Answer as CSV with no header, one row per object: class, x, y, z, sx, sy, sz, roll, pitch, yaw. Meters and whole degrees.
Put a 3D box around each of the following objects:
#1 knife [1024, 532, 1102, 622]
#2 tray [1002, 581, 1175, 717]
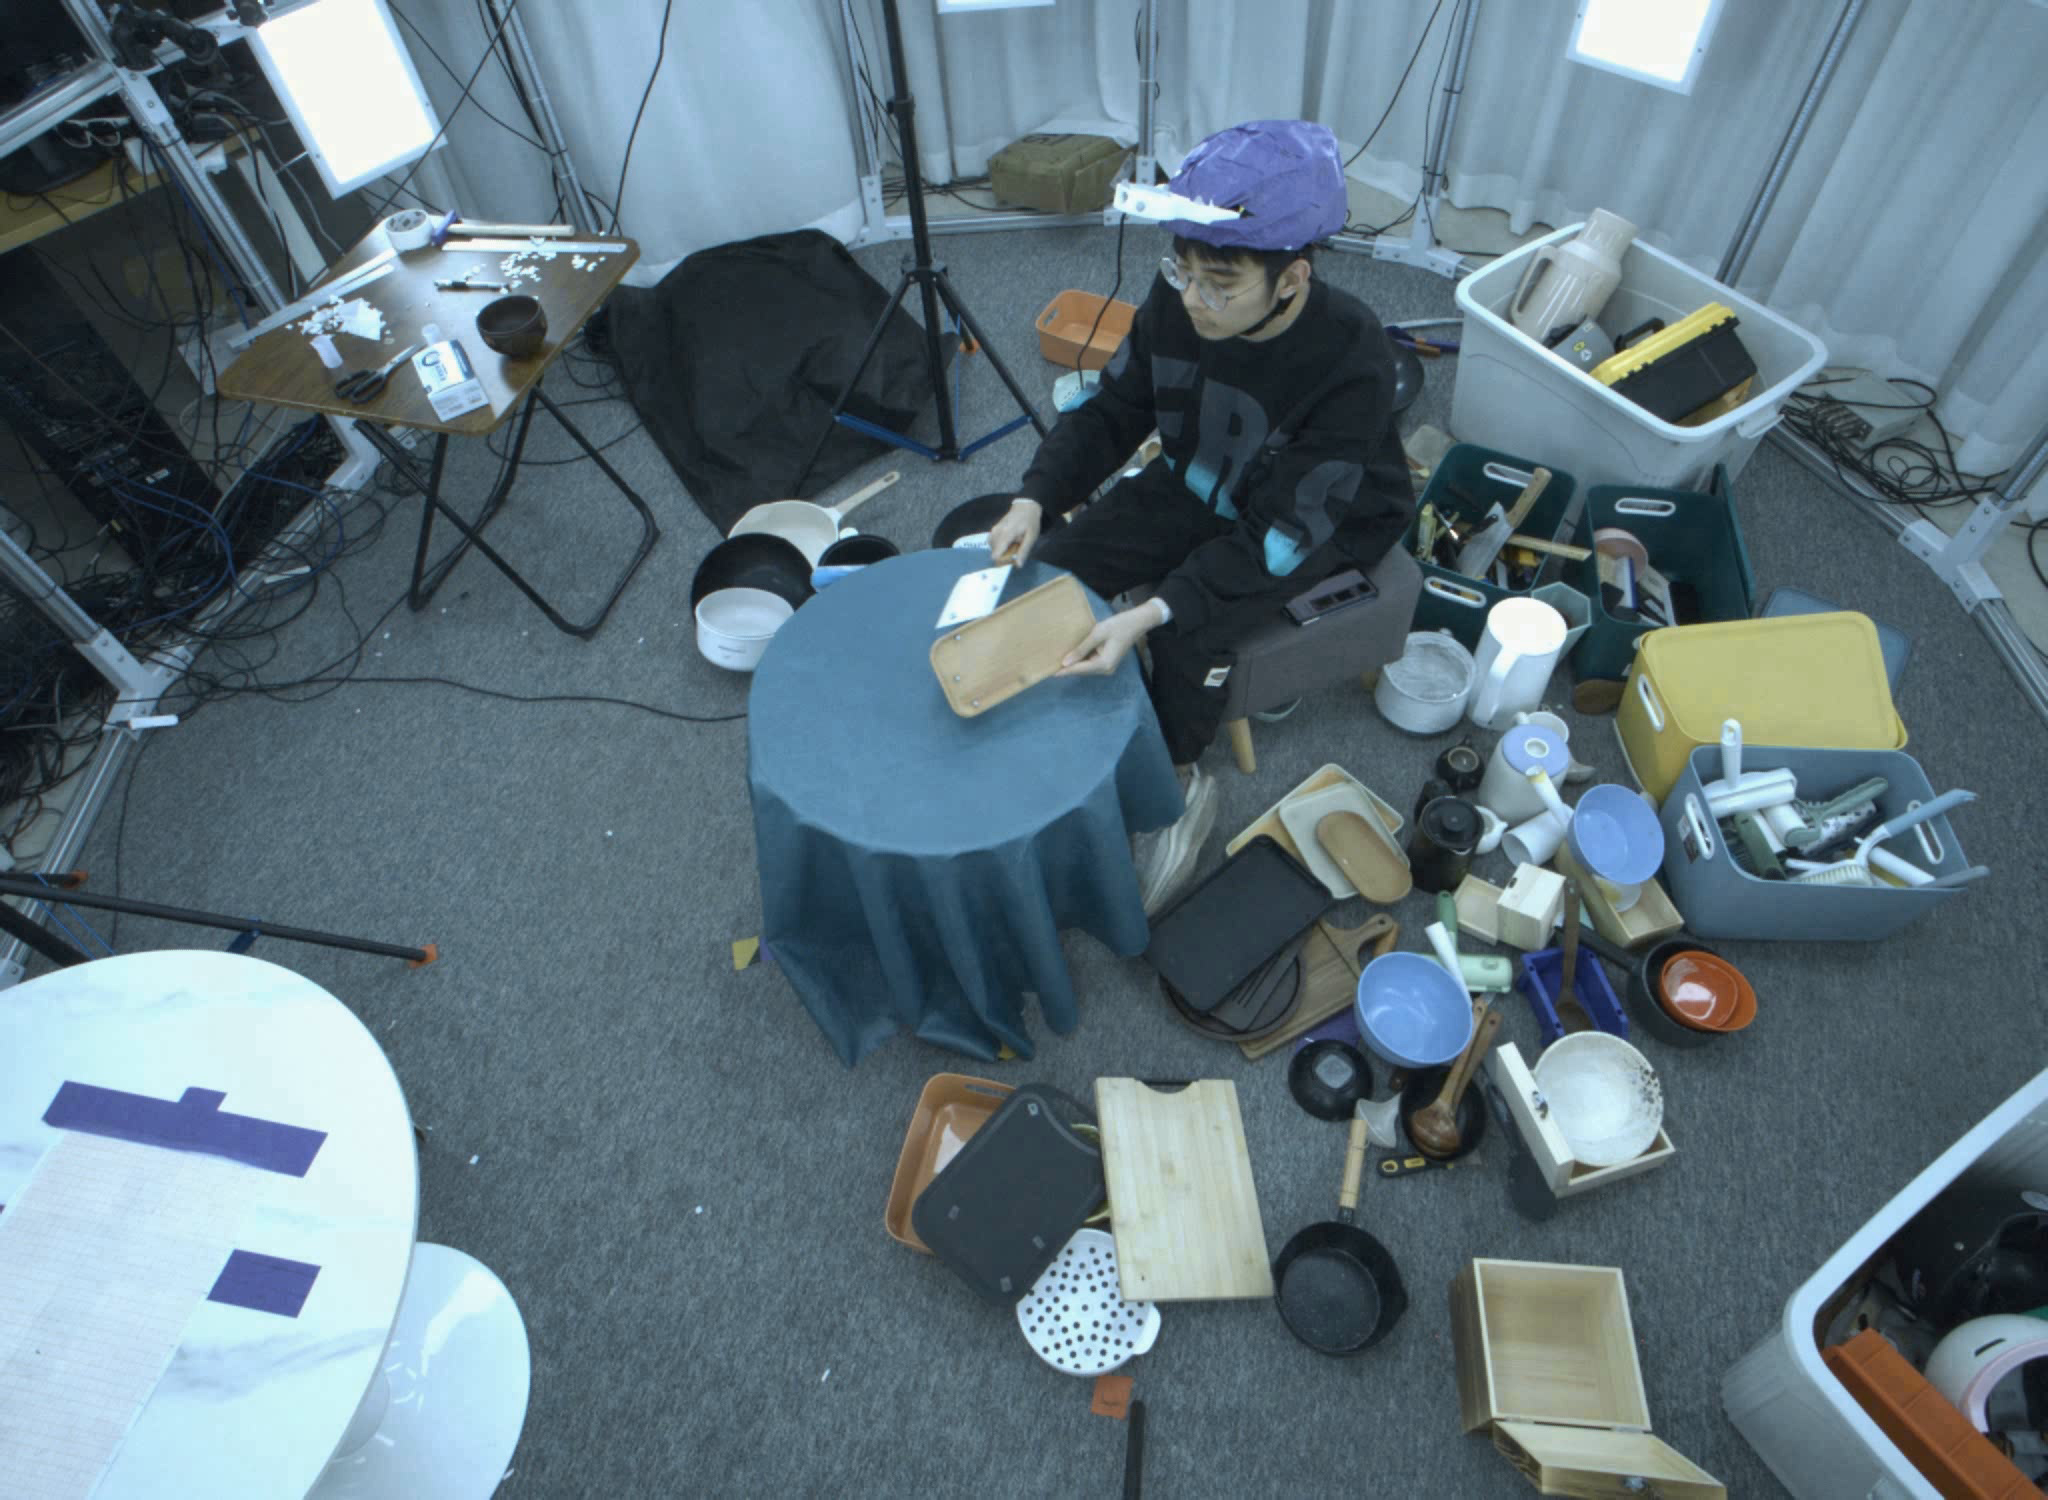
knife,0.059,-0.264,1.871,0.092,0.021,0.305,-10,27,20
tray,0.094,-0.147,1.772,0.252,0.132,0.022,-24,25,-13
